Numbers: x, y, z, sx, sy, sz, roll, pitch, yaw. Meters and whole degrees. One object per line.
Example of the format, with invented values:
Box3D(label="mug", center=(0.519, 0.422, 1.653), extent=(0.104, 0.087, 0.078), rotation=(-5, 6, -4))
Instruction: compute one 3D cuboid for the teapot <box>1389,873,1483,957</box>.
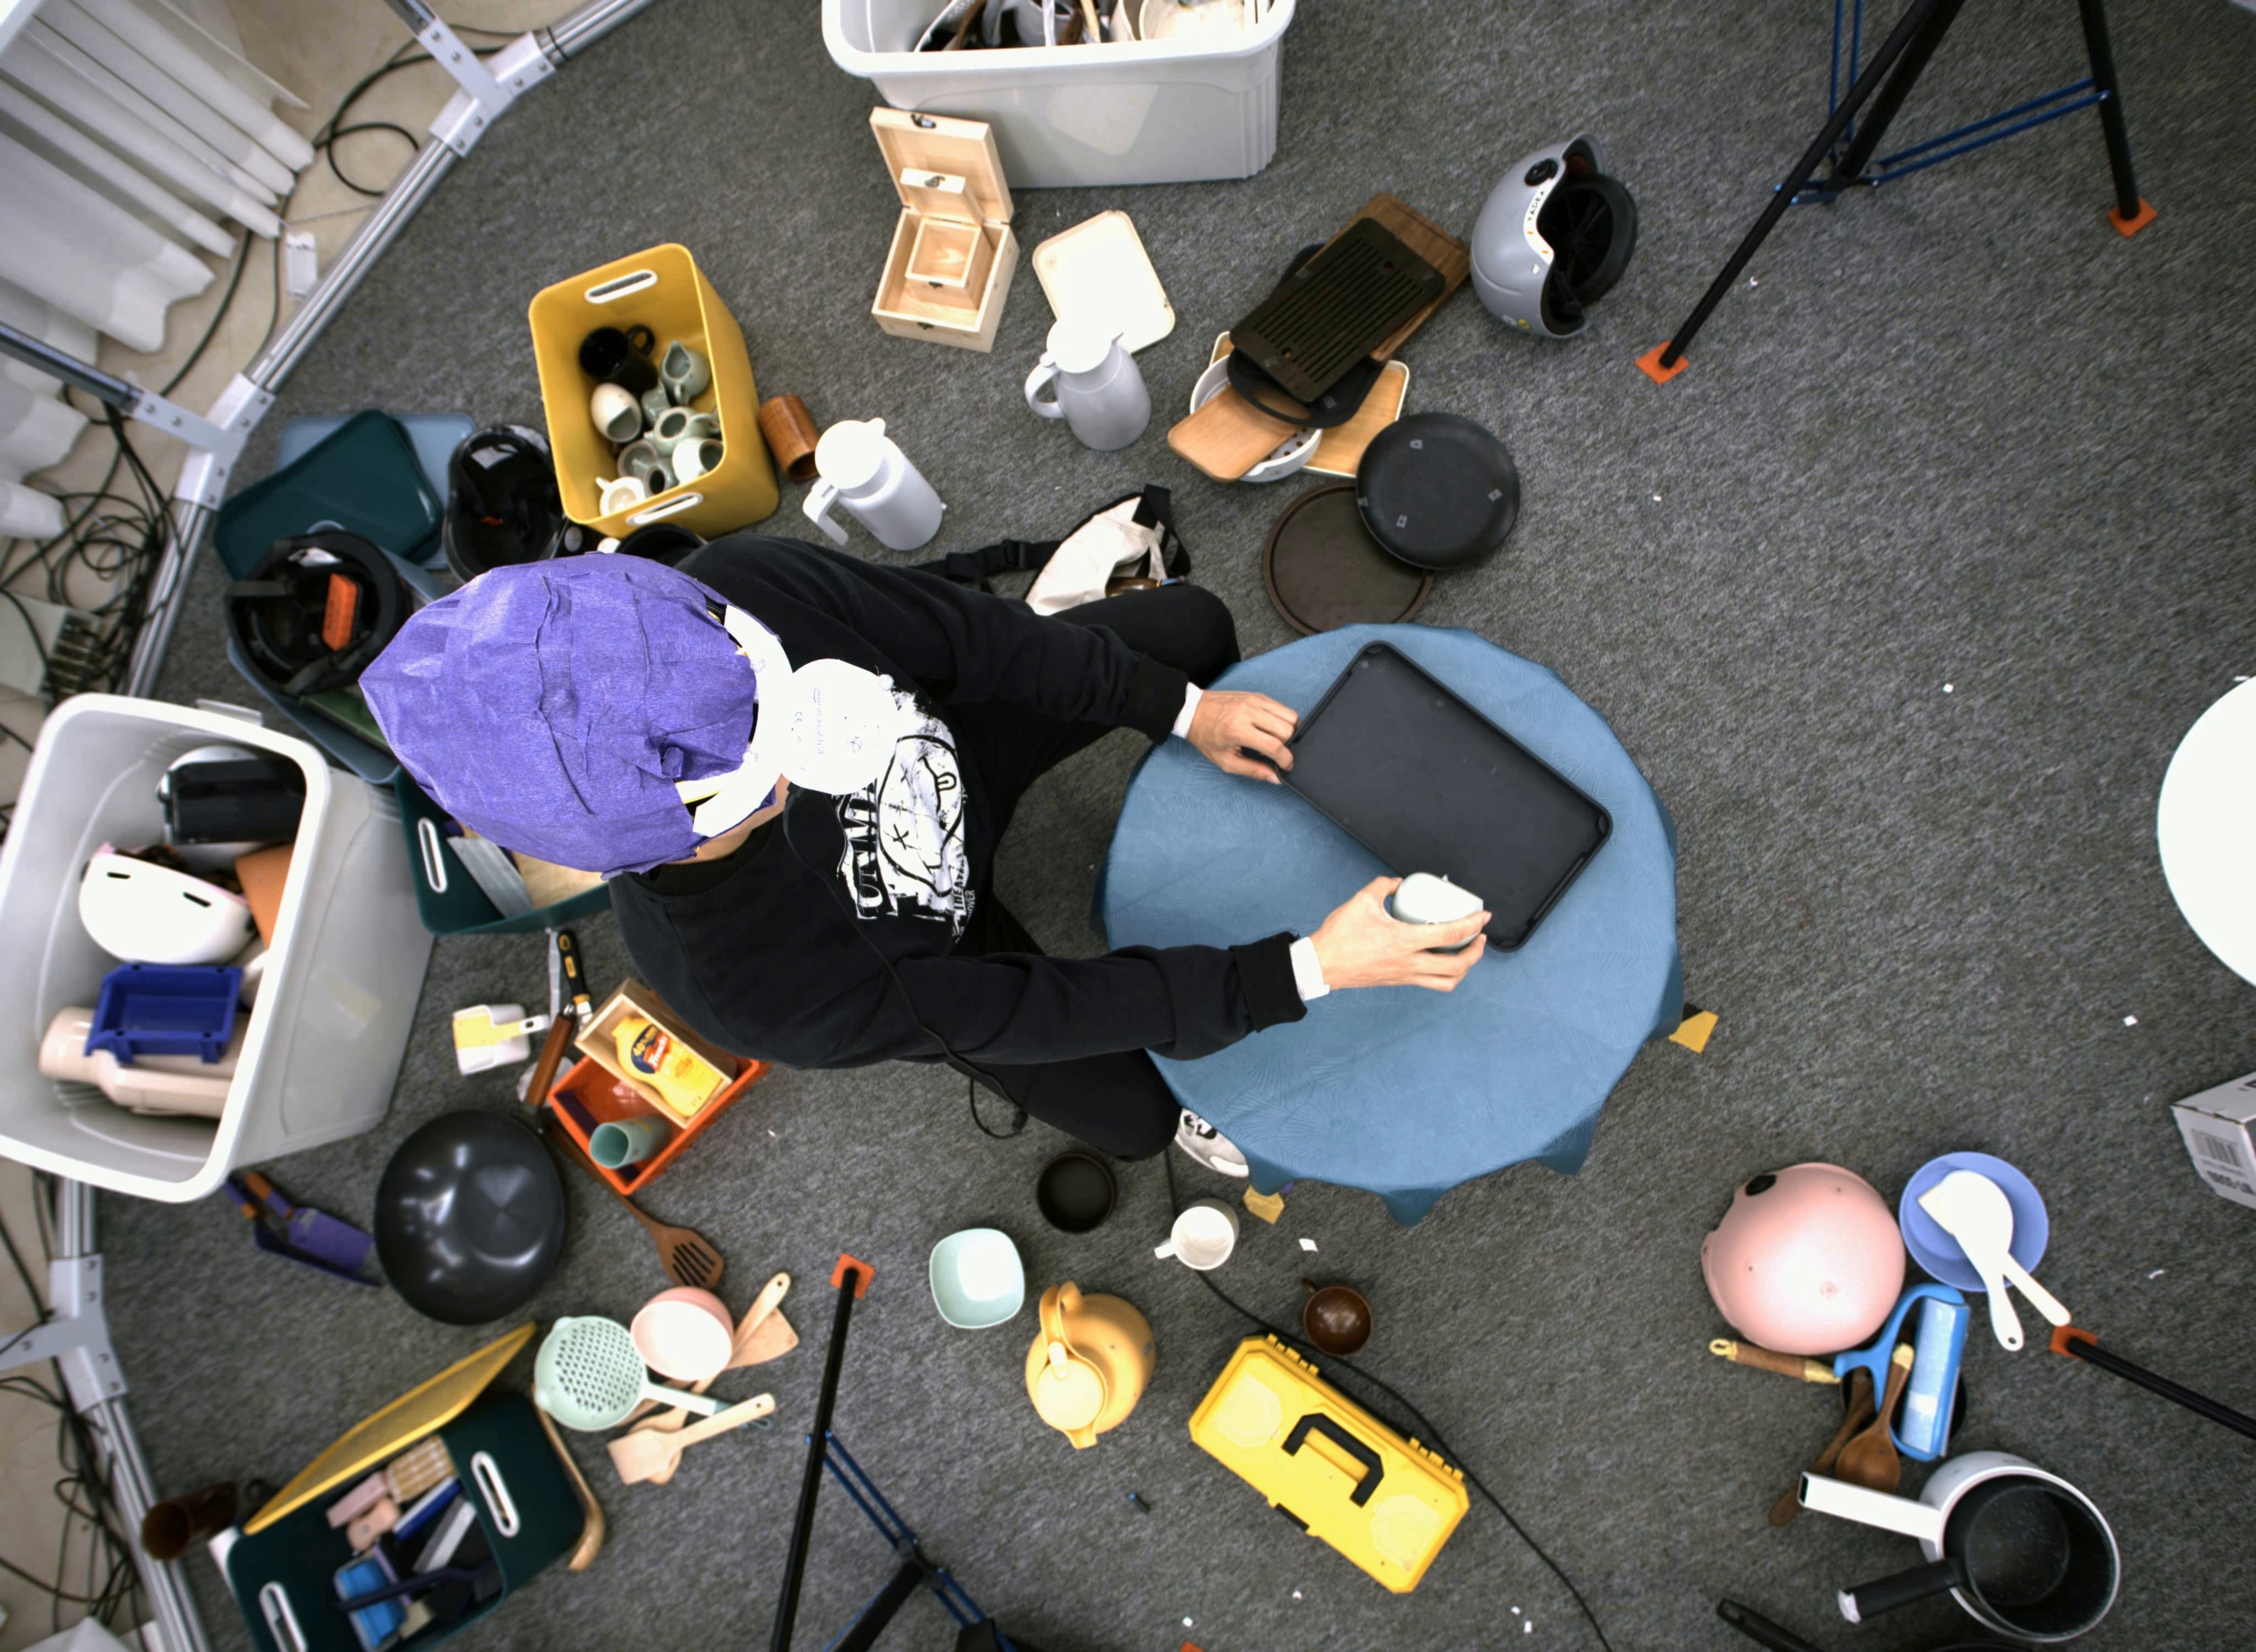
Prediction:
Box3D(label="teapot", center=(0.293, 0.082, 1.312), extent=(0.088, 0.143, 0.075), rotation=(25, 94, 11))

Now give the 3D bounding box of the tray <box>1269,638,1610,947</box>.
Box3D(label="tray", center=(0.319, -0.037, 1.422), extent=(0.317, 0.037, 0.185), rotation=(36, 95, 4))
